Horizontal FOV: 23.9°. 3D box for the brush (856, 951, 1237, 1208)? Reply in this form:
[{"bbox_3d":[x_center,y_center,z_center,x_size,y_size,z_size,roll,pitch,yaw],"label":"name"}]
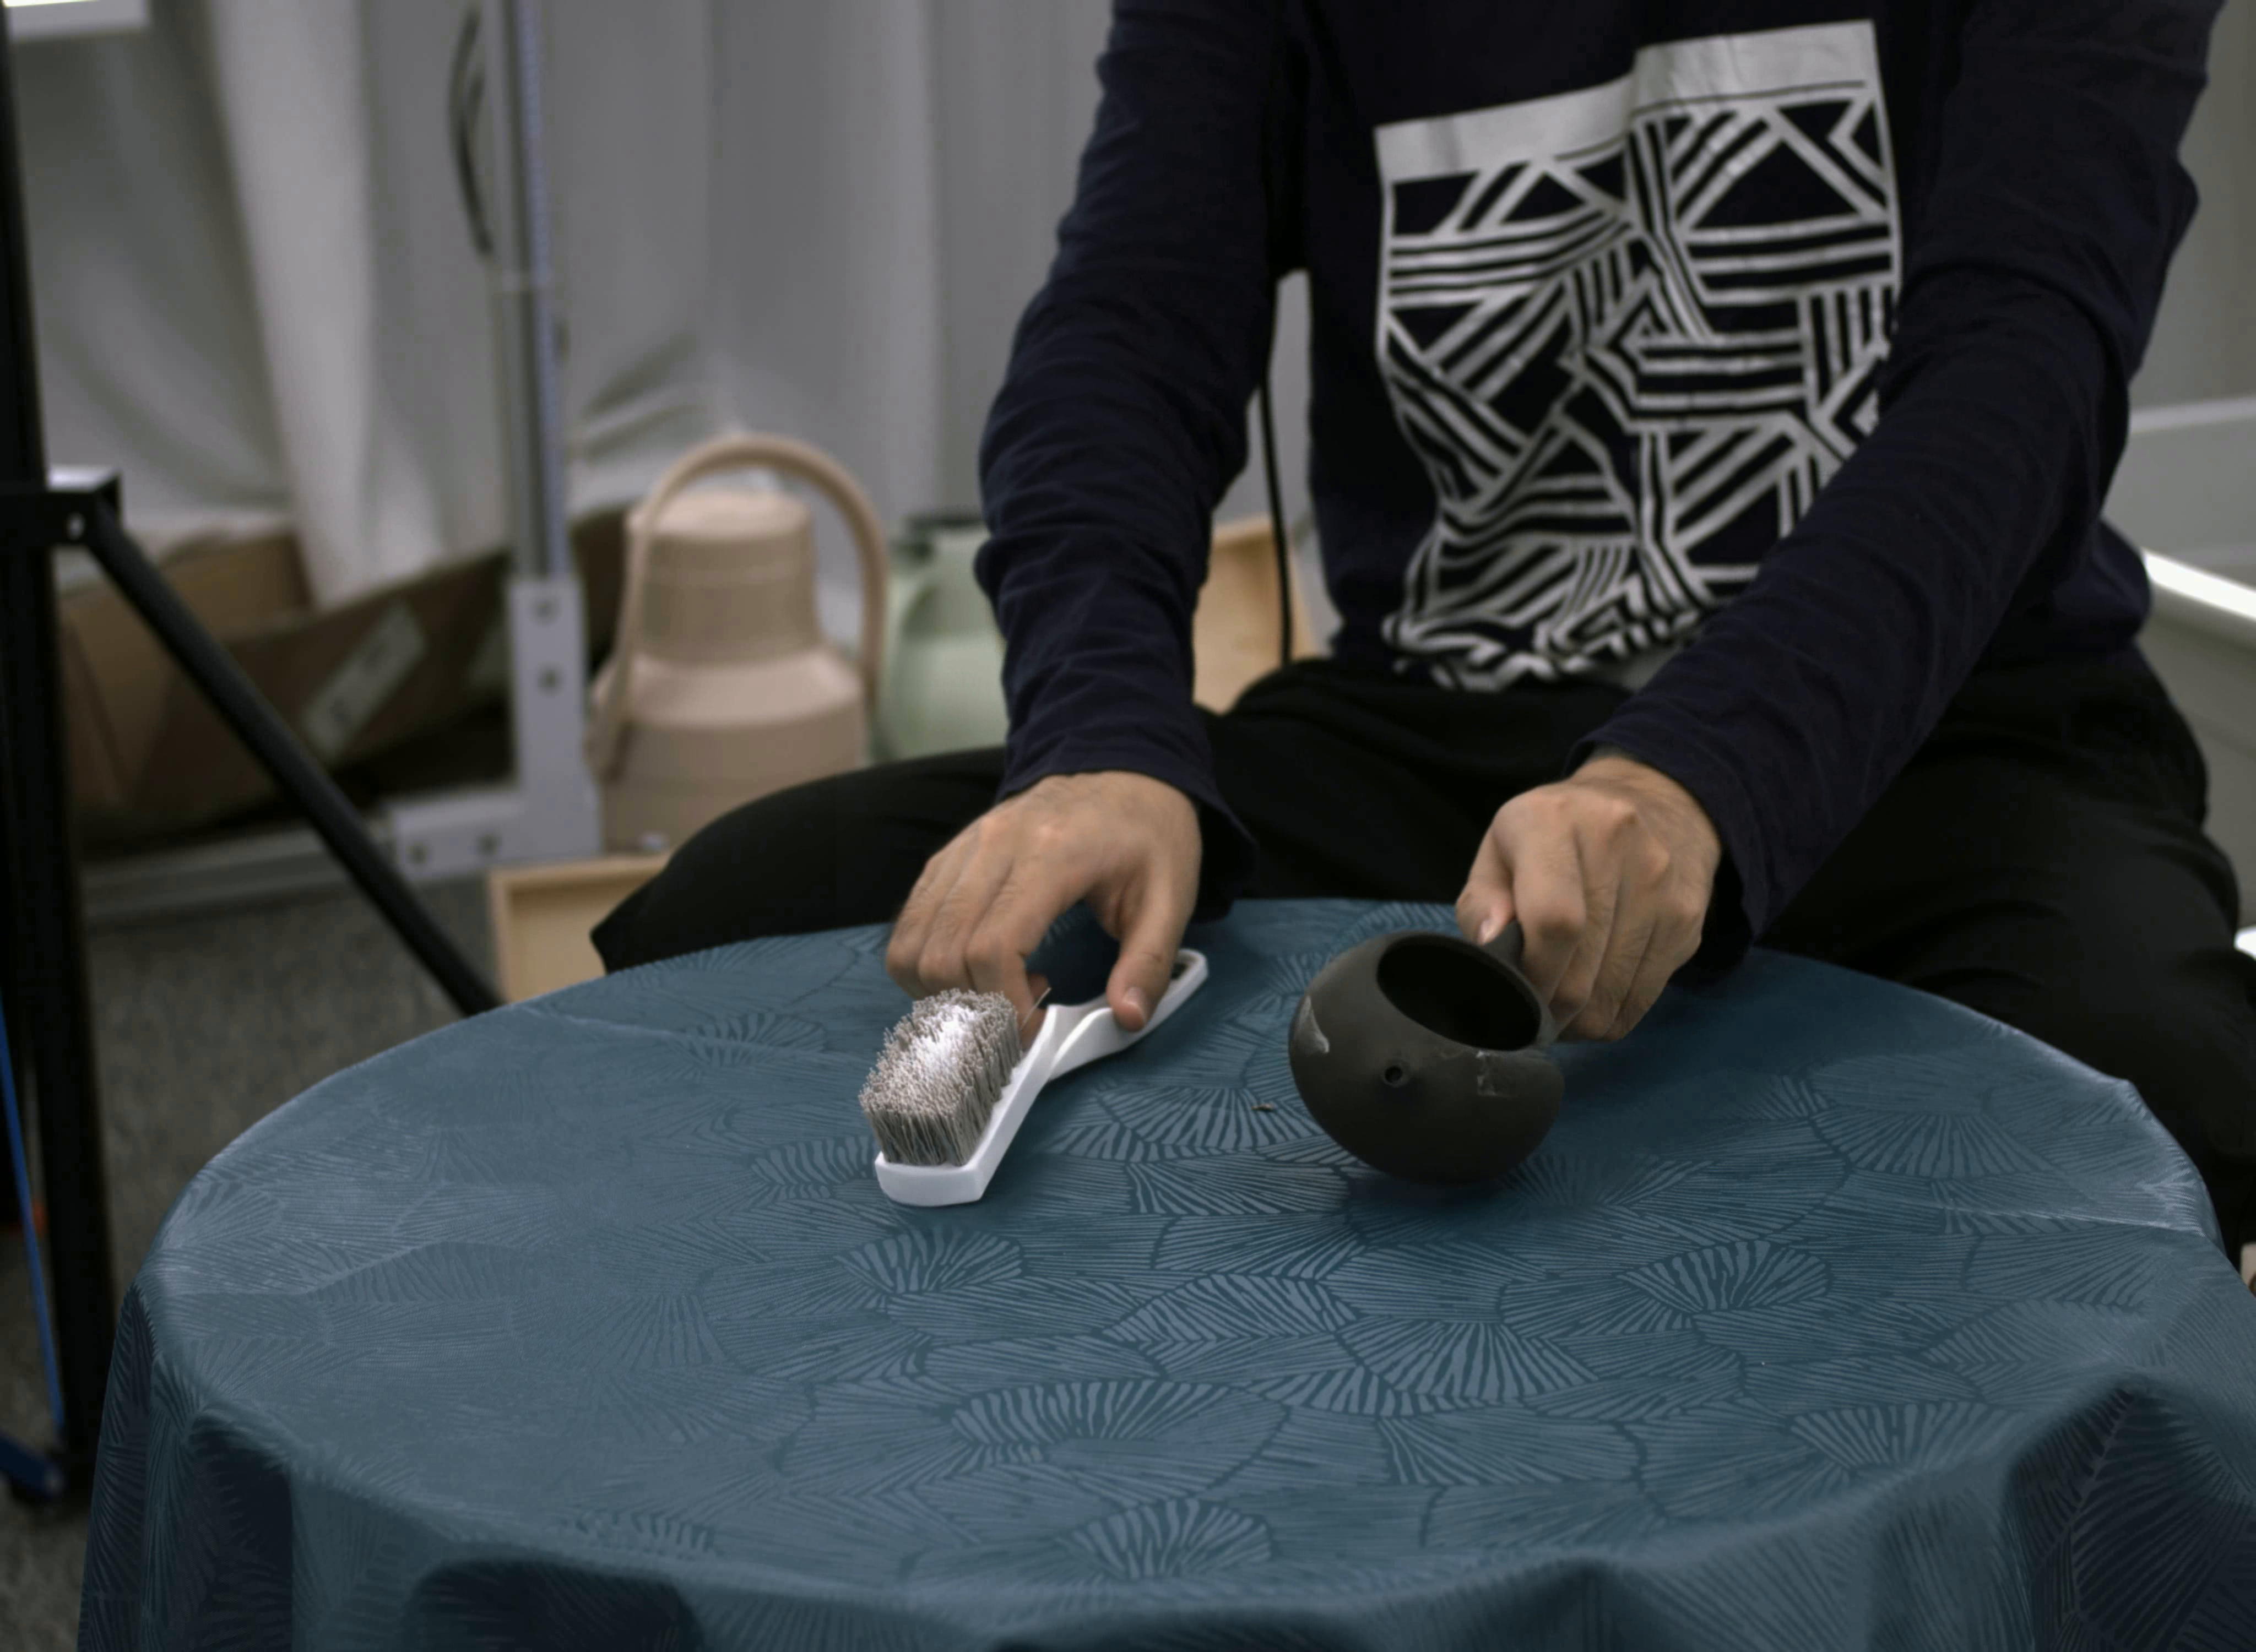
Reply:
[{"bbox_3d":[-0.021,0.059,1.649,0.035,0.050,0.240,-1,16,24],"label":"brush"}]

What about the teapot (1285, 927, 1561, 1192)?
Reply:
[{"bbox_3d":[0.092,0.064,1.562,0.084,0.053,0.113,29,34,13],"label":"teapot"}]
